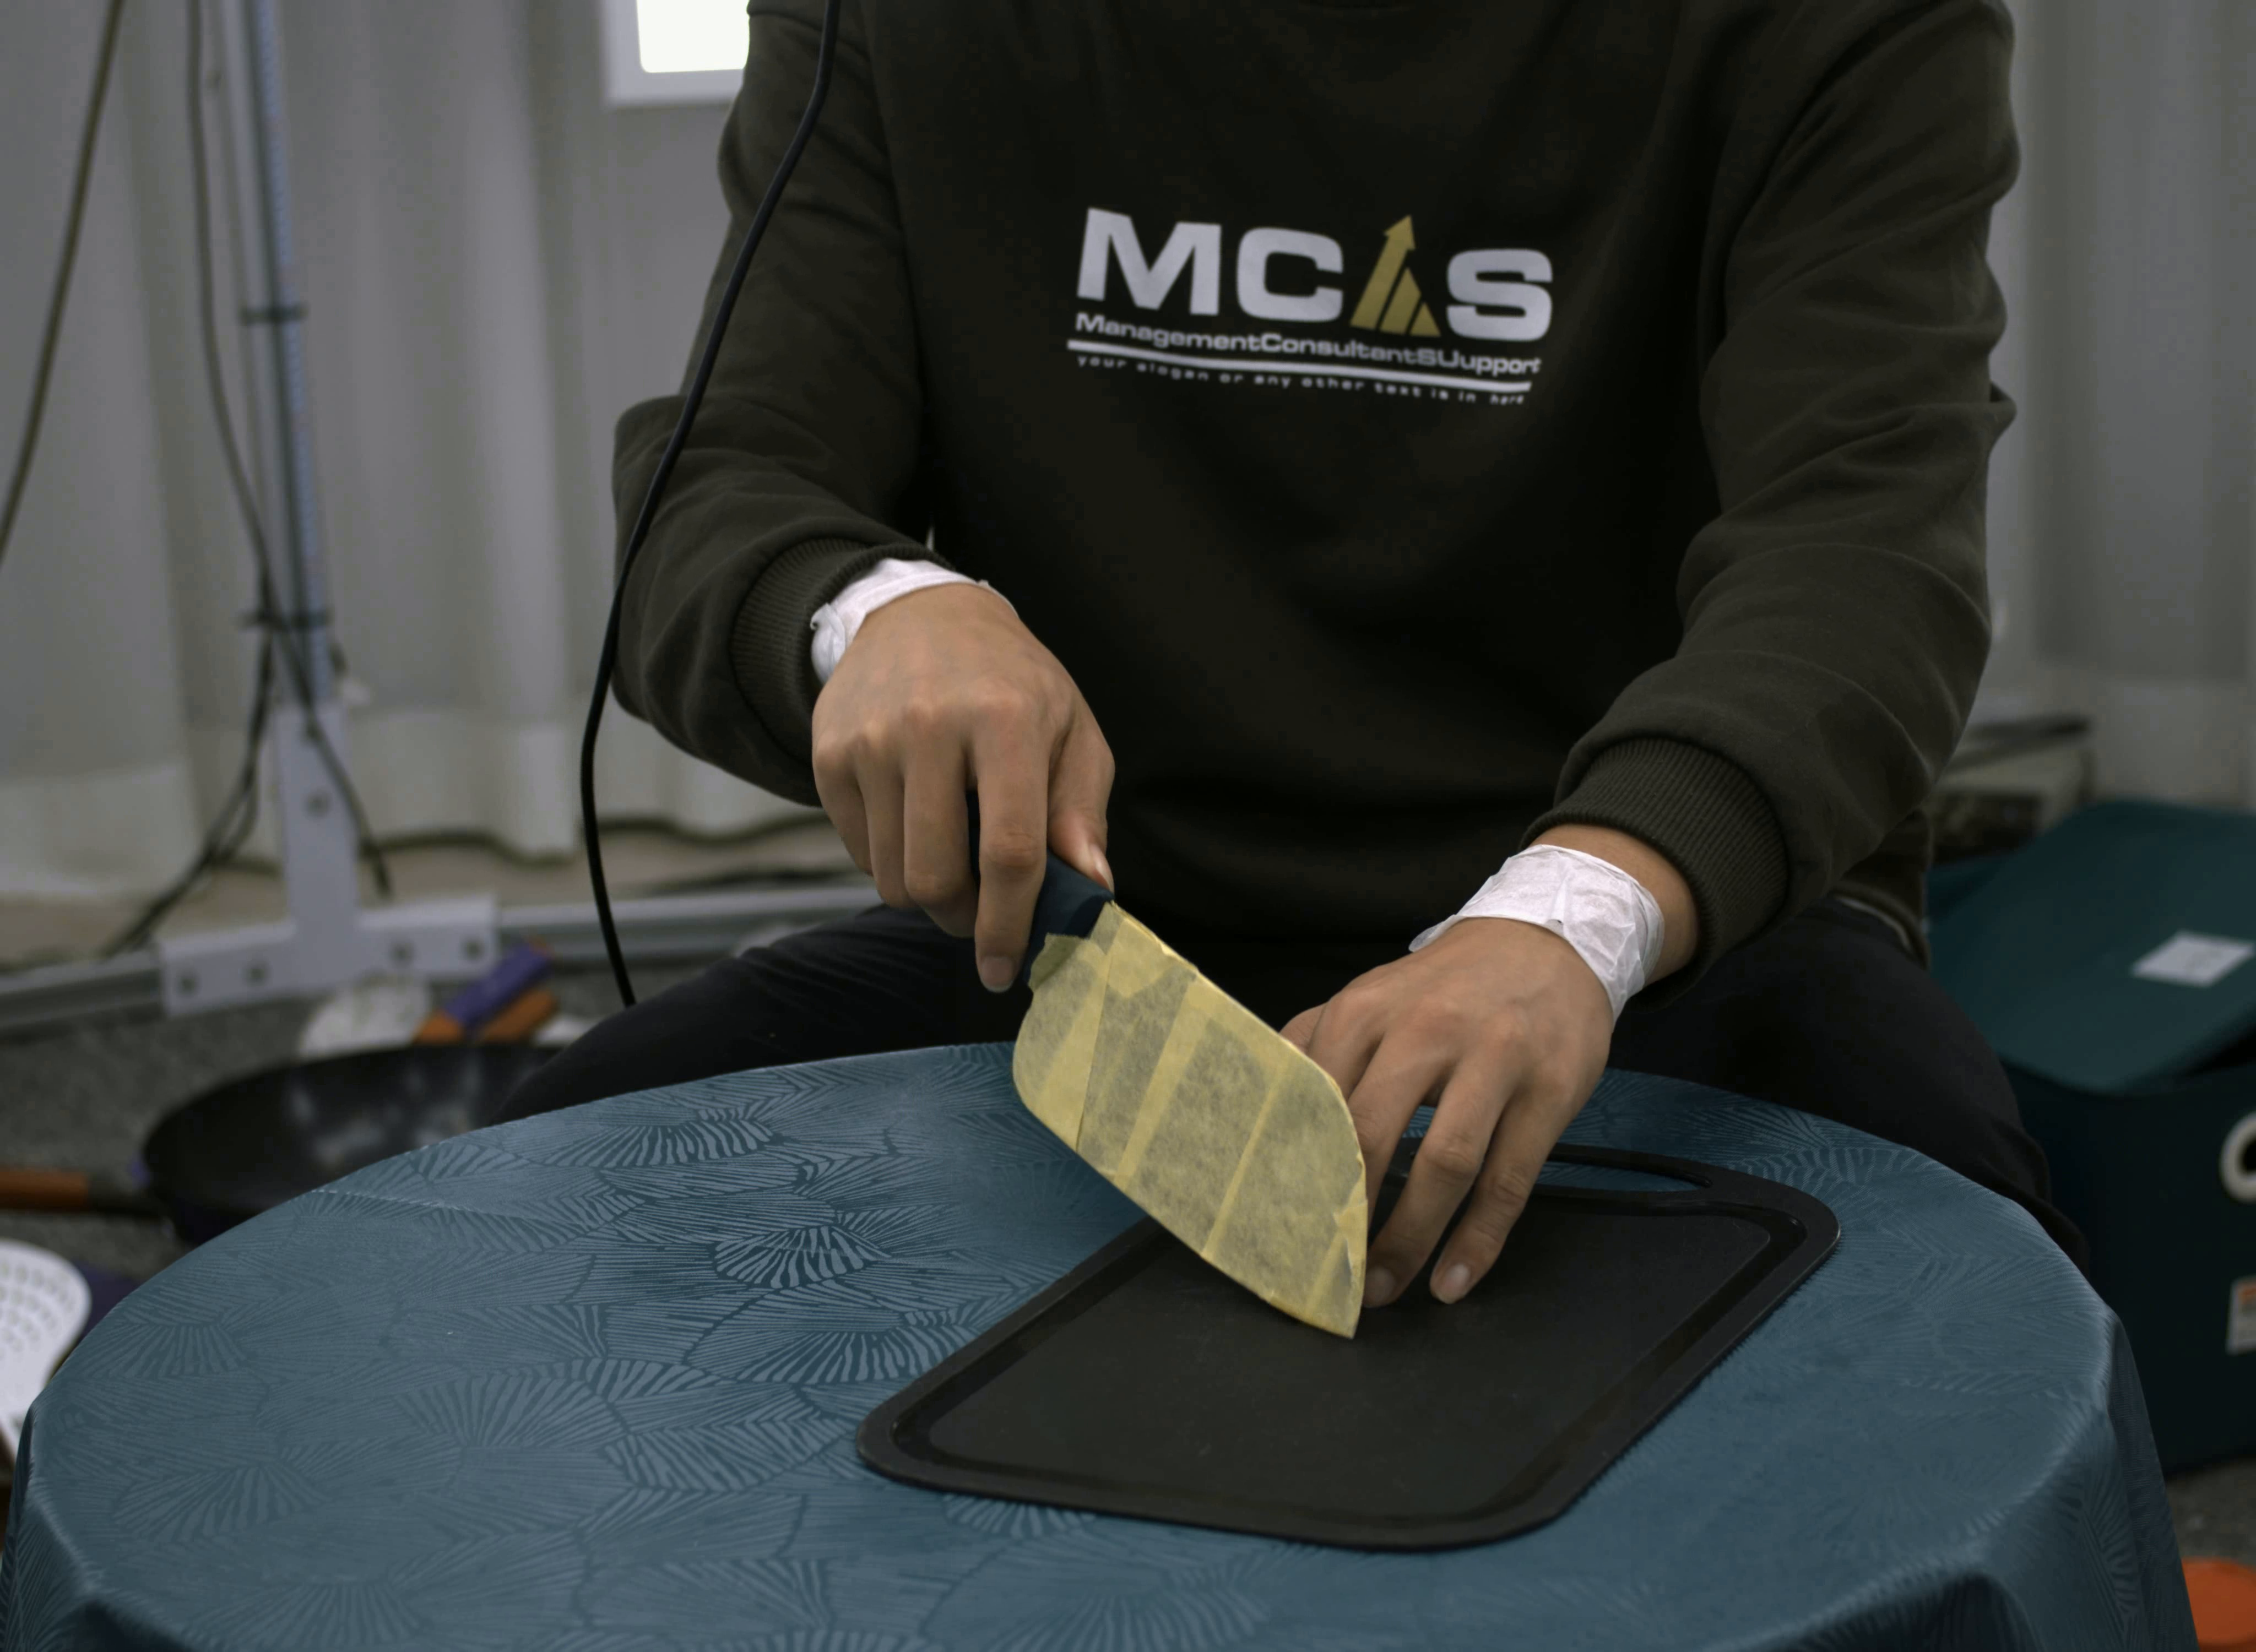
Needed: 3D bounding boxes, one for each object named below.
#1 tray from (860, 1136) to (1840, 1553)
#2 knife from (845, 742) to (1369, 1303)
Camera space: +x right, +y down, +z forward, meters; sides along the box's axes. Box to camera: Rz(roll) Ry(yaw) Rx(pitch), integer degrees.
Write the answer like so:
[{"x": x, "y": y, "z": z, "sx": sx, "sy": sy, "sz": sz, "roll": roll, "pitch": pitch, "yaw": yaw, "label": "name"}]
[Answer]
[{"x": 0.073, "y": 0.141, "z": 1.589, "sx": 0.211, "sy": 0.010, "sz": 0.326, "roll": 5, "pitch": 17, "yaw": 26, "label": "tray"}, {"x": -0.011, "y": 0.056, "z": 1.668, "sx": 0.027, "sy": 0.081, "sz": 0.293, "roll": 12, "pitch": 21, "yaw": -41, "label": "knife"}]
